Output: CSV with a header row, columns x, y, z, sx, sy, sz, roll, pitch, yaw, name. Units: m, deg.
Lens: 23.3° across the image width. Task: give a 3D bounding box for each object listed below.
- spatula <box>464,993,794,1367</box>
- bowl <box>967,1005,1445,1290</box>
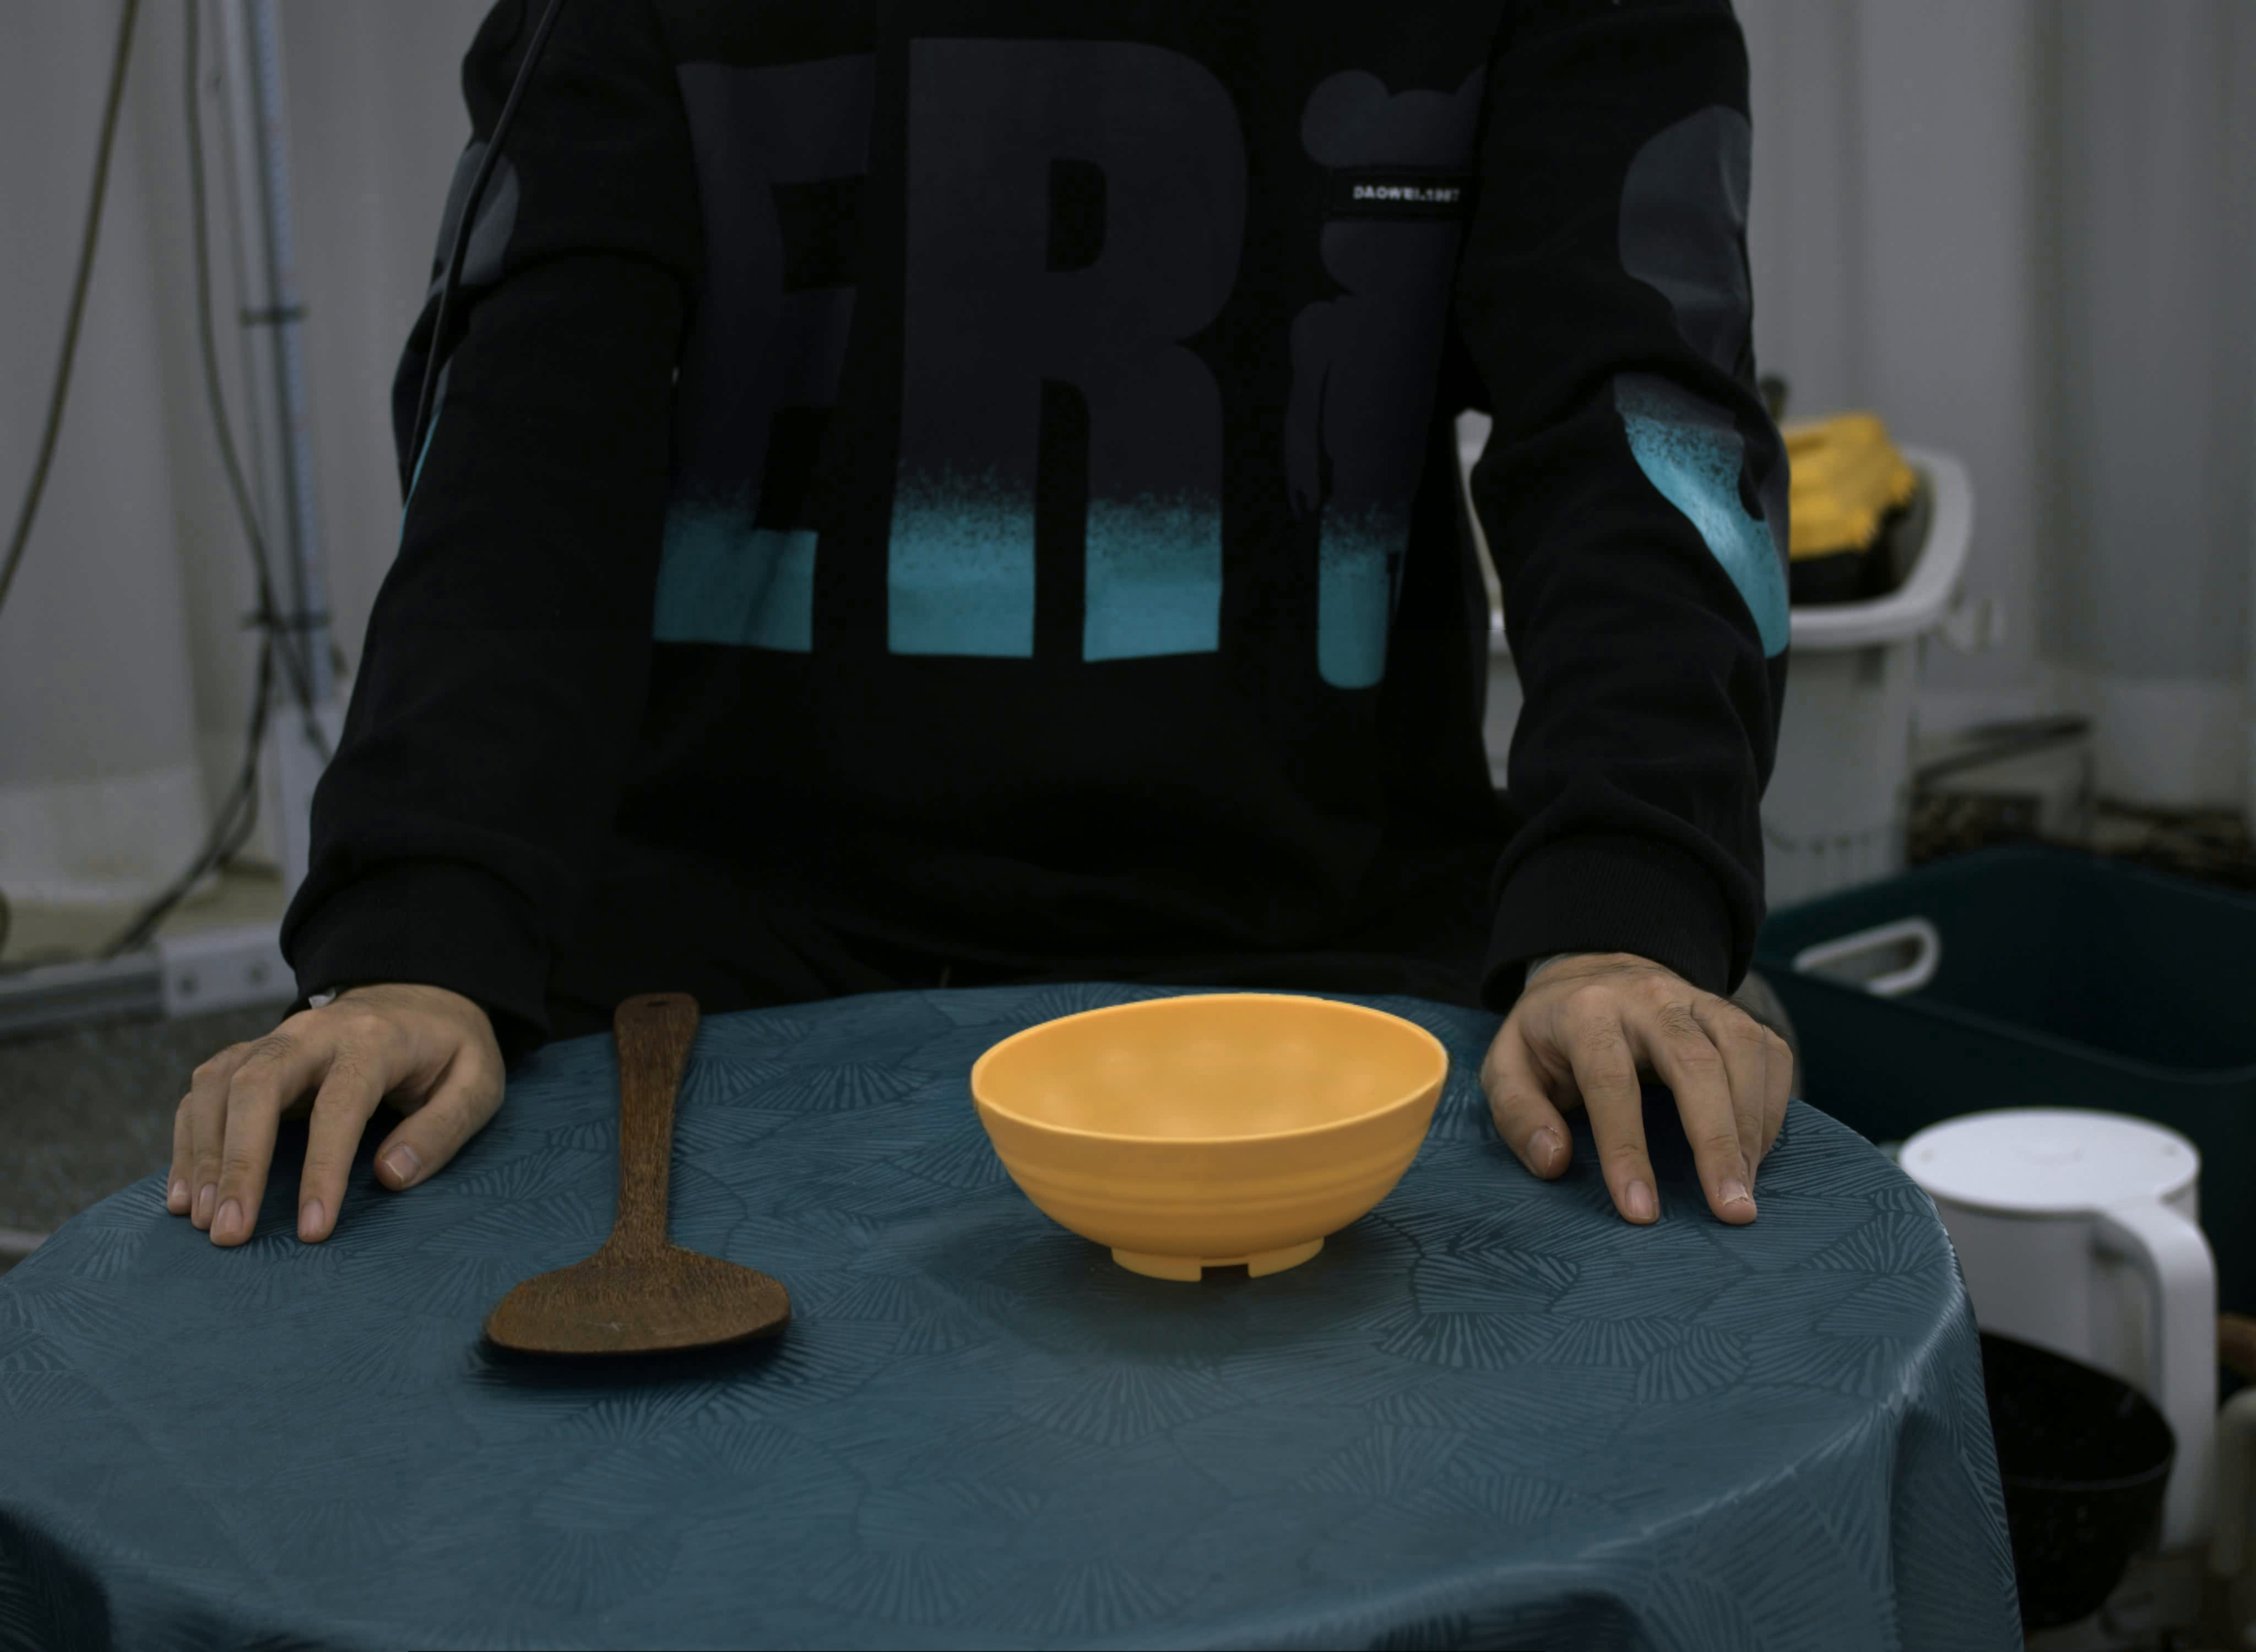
x,y,z,sx,sy,sz,roll,pitch,yaw,name
-0.155,0.107,1.748,0.096,0.016,0.388,-3,14,-3,spatula
0.024,0.102,1.653,0.145,0.060,0.146,-1,13,0,bowl
